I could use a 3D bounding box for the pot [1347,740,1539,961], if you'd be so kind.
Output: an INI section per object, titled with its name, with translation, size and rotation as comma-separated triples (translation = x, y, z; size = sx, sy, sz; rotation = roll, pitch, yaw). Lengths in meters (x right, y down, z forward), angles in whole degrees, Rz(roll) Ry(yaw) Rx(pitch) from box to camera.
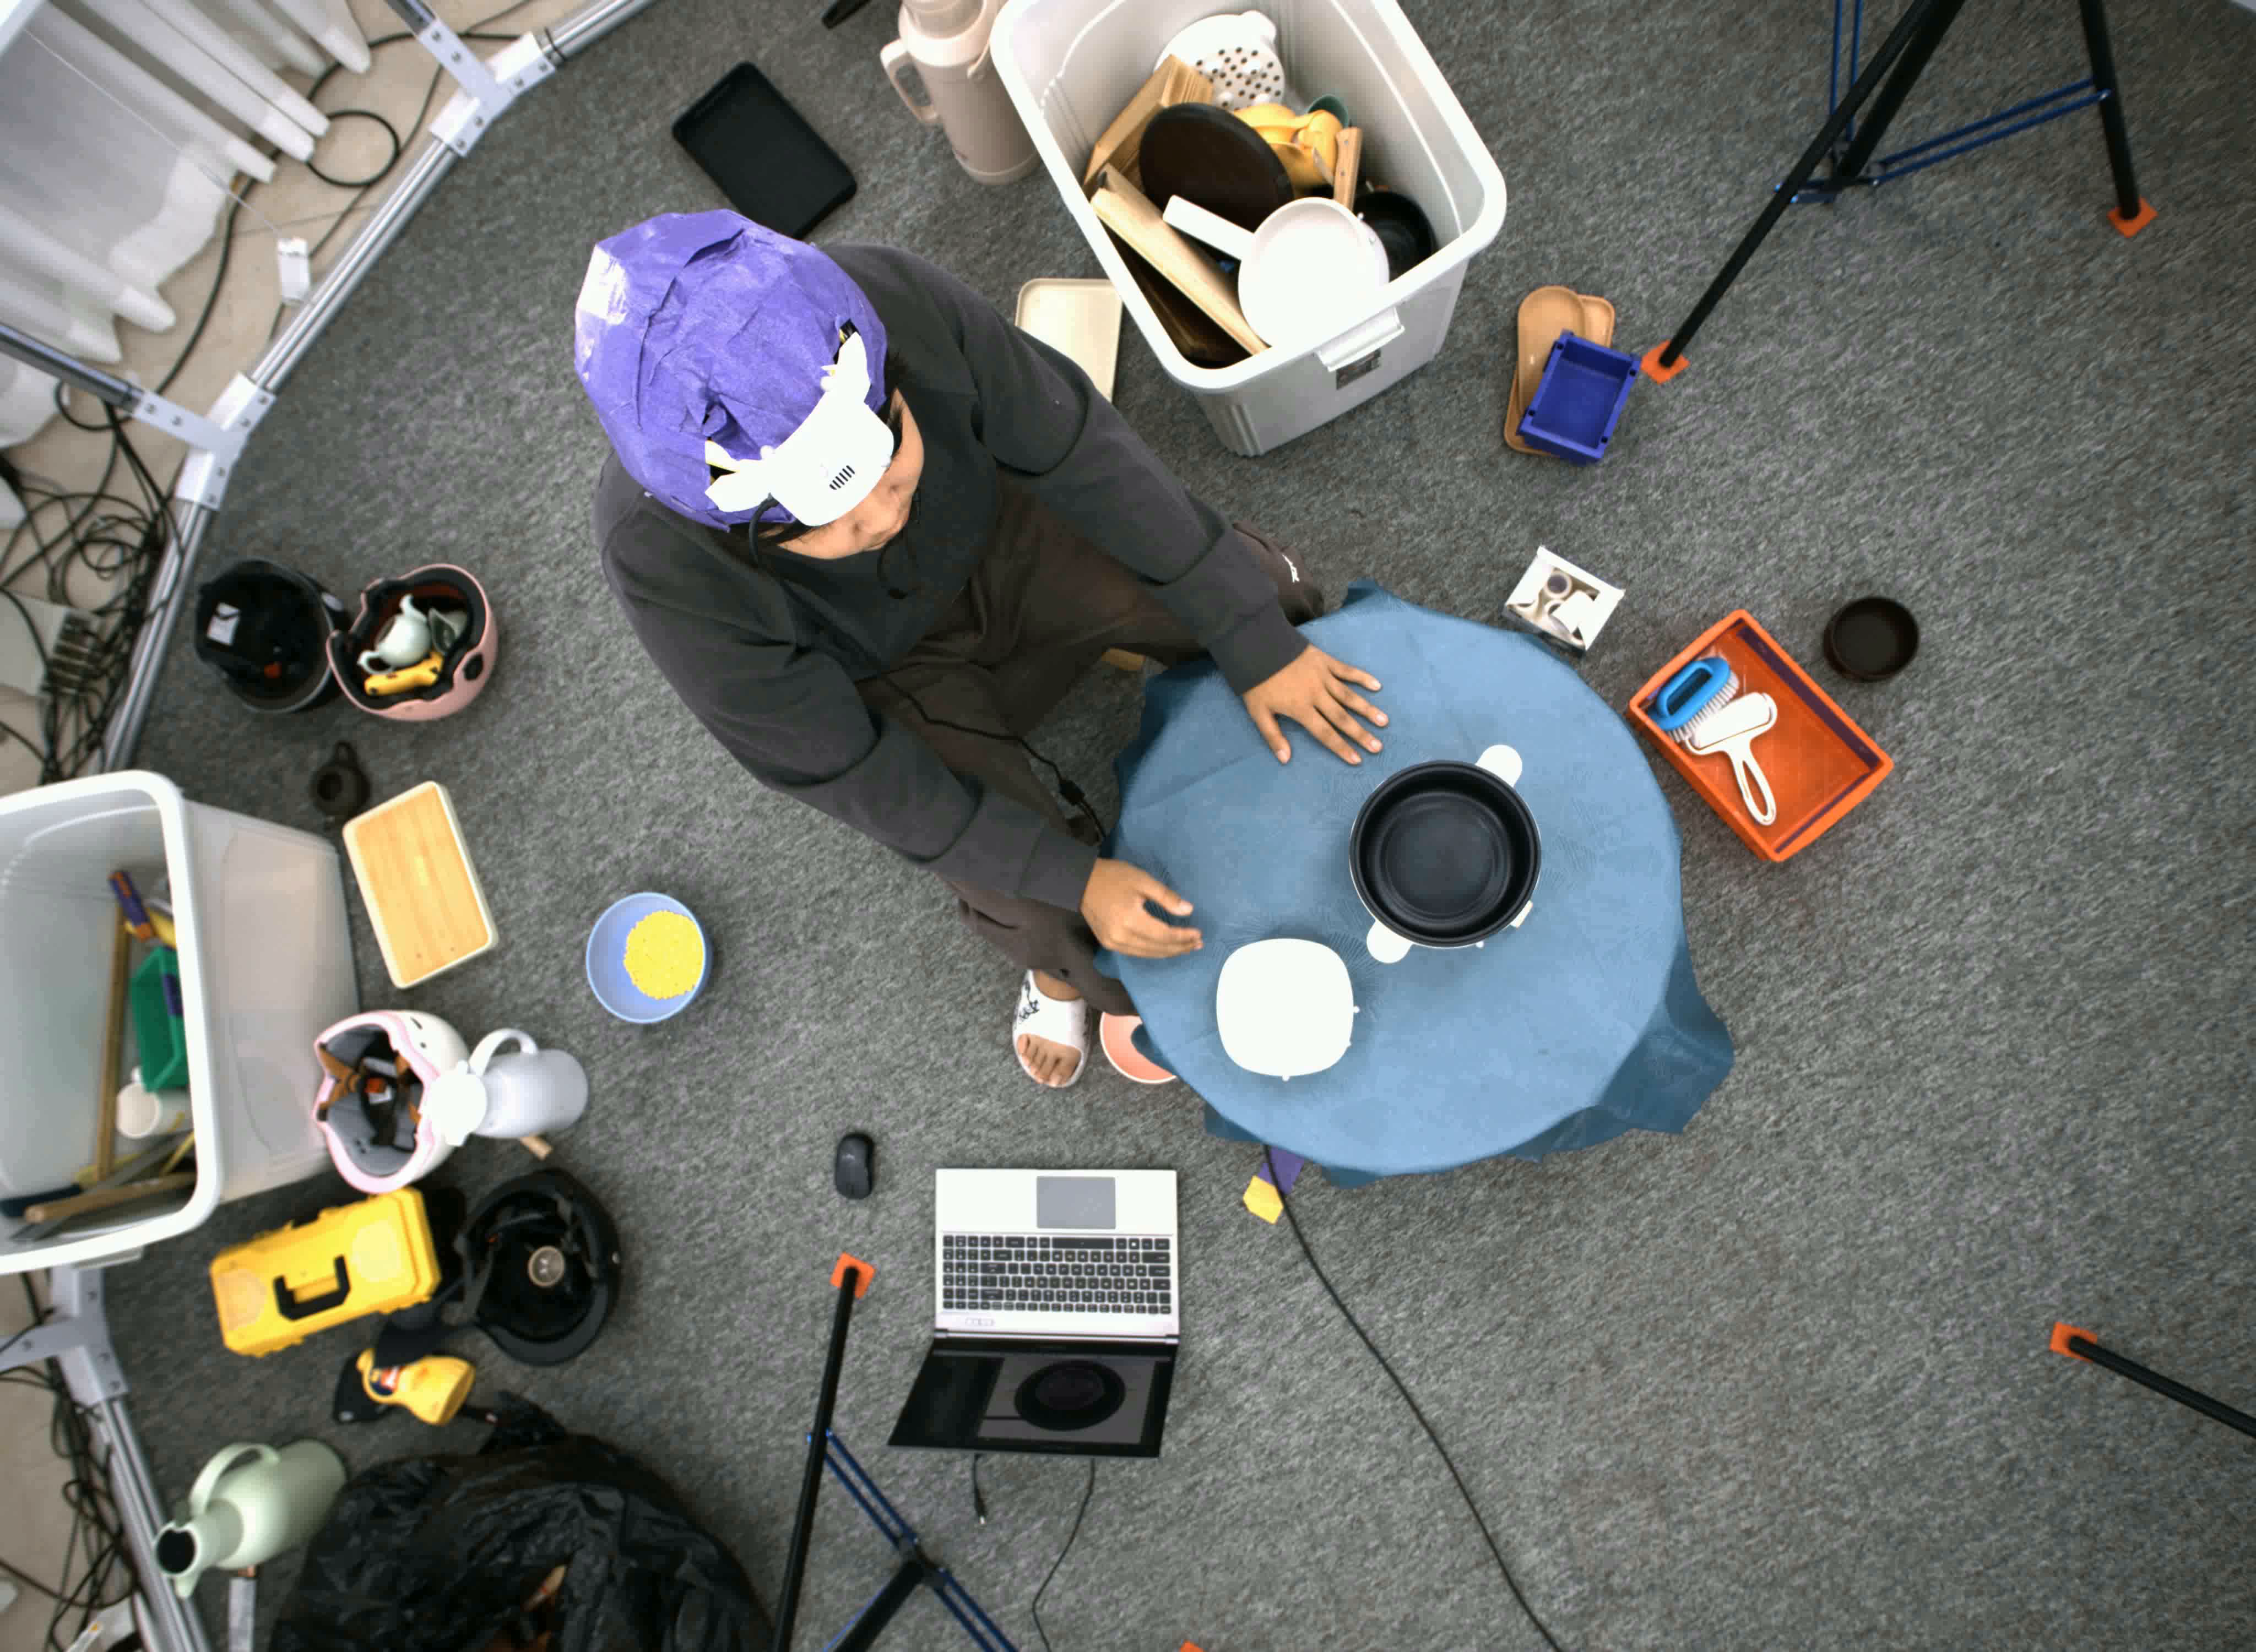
[pot]
translation = 0.319, 0.031, 1.382
size = 0.190, 0.142, 0.241
rotation = 31, 94, 15

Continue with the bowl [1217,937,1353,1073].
[bowl]
translation = 0.164, 0.185, 1.446
size = 0.152, 0.058, 0.151
rotation = -1, 87, 9
